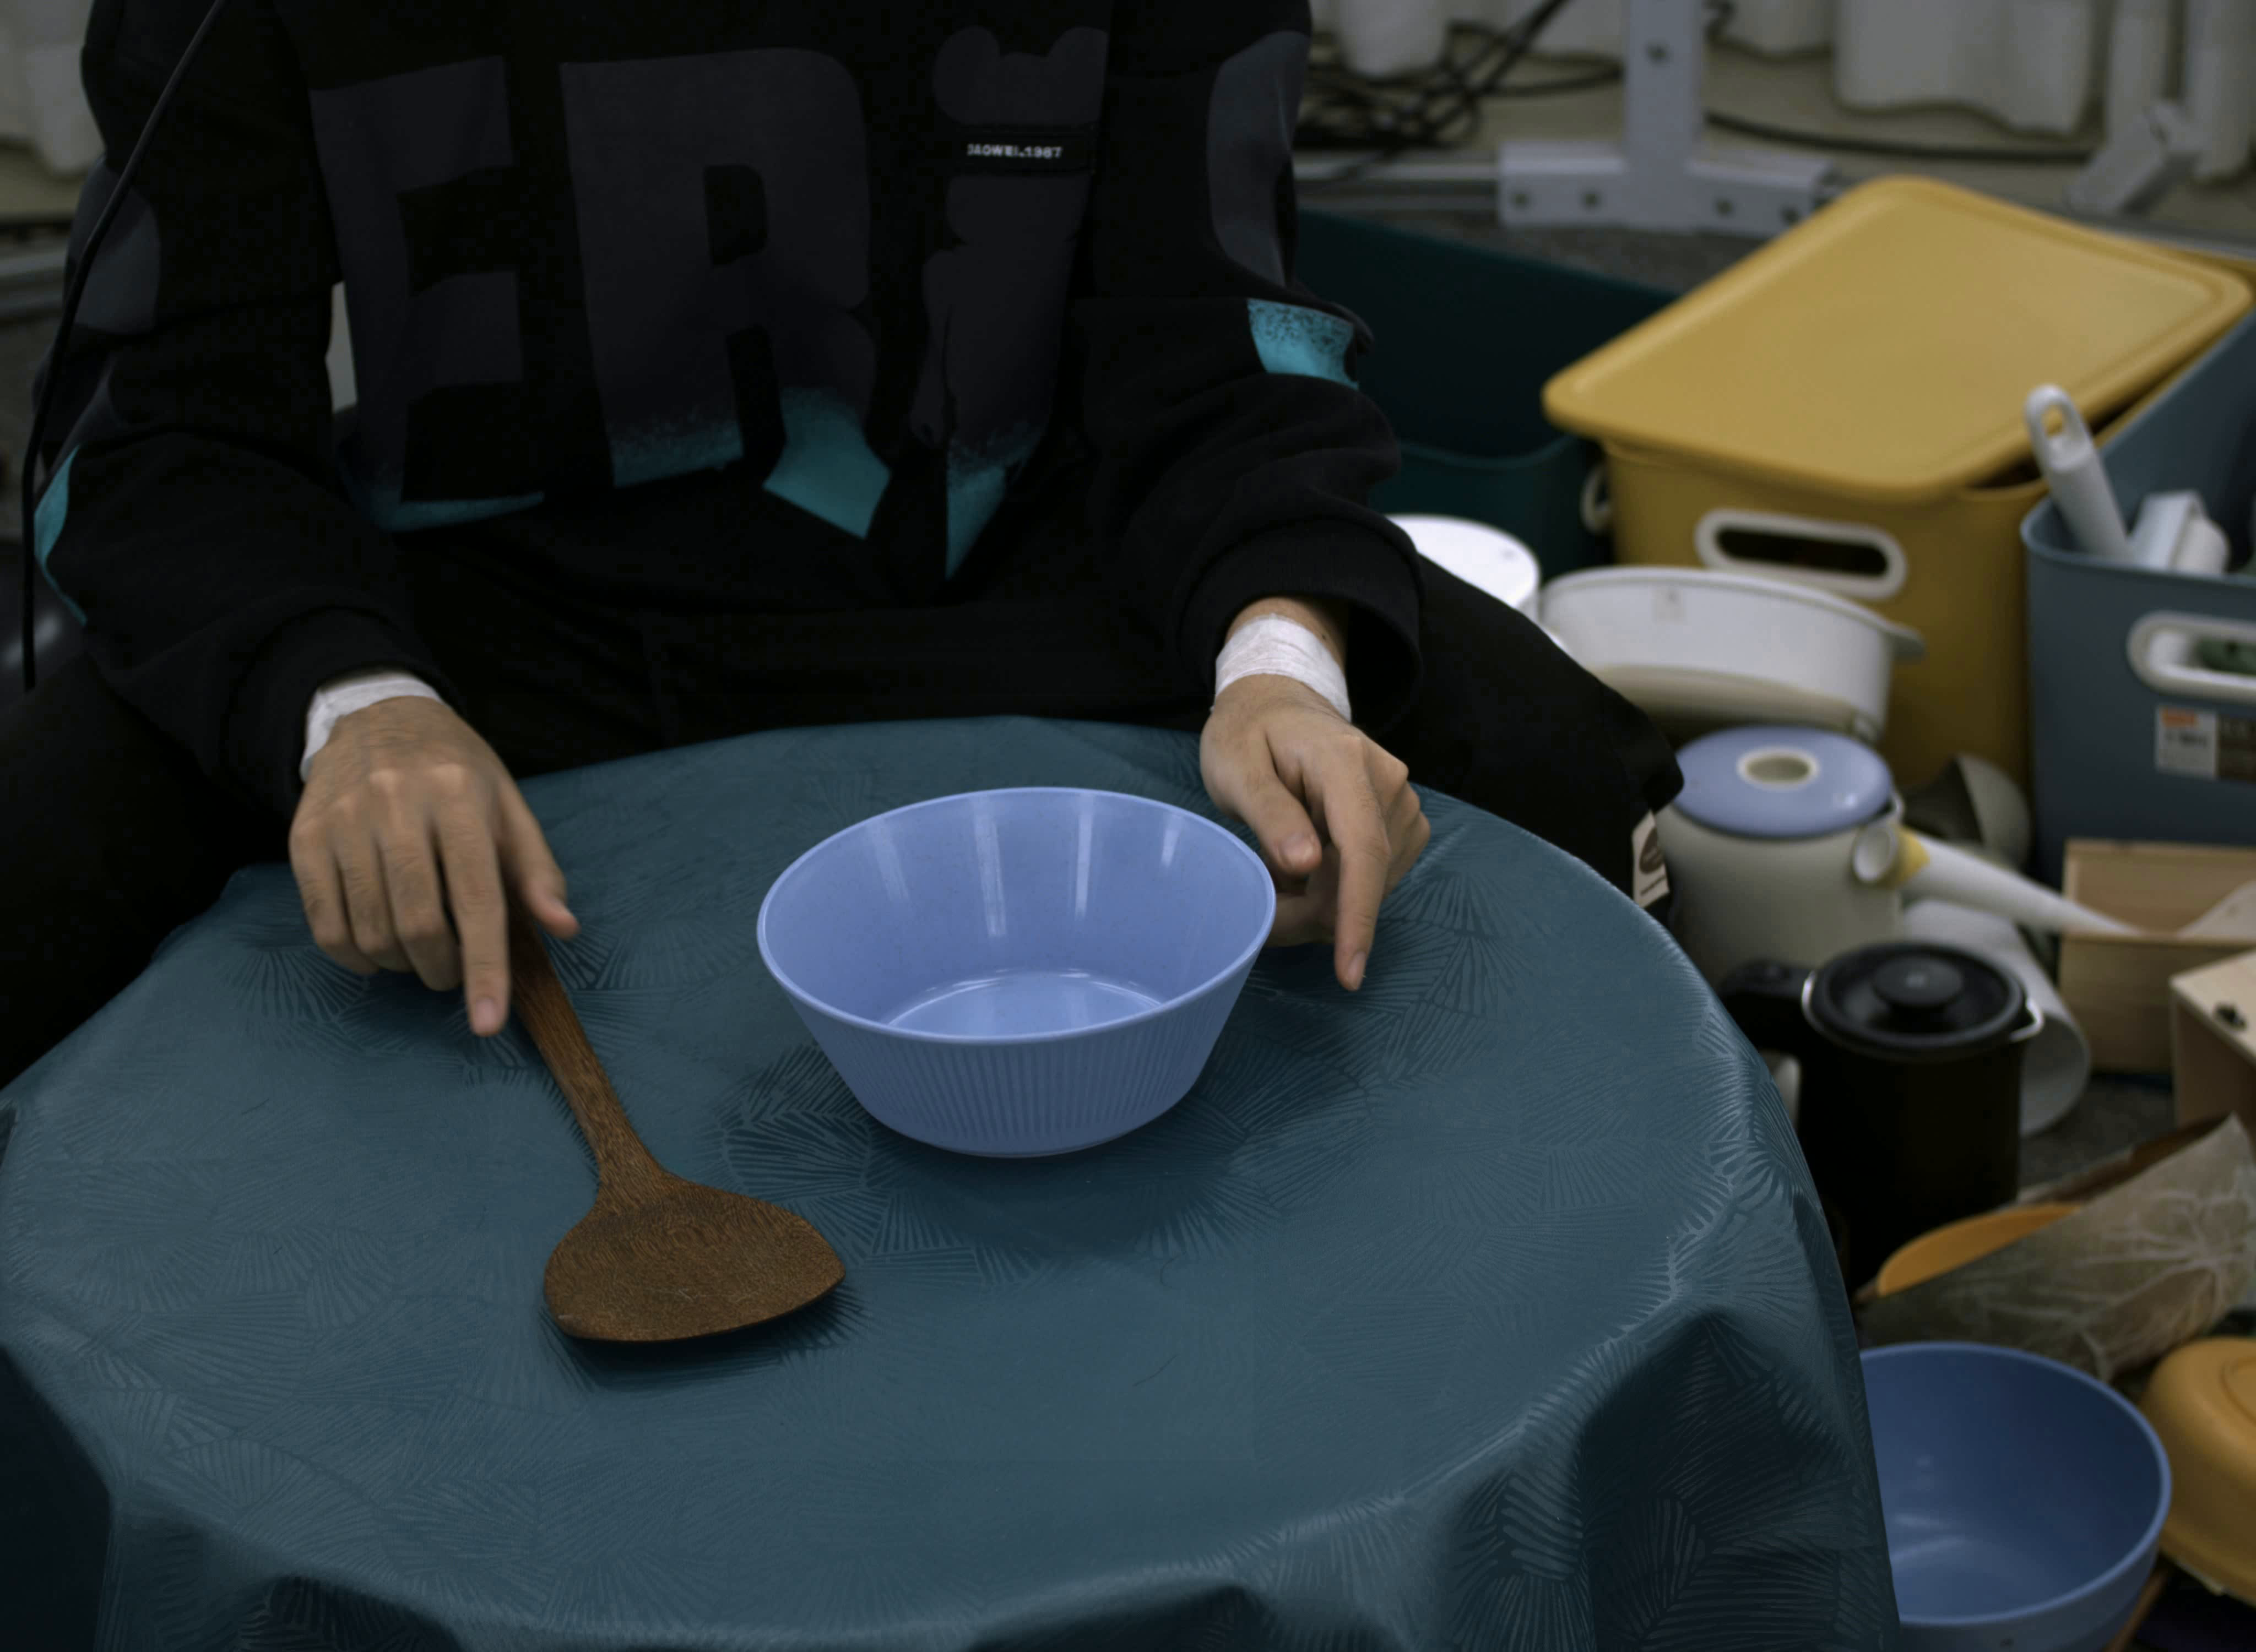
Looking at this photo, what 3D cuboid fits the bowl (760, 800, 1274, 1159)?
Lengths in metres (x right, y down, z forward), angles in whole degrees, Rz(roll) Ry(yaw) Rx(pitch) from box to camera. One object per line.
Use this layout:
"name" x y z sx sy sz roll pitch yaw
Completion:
"bowl" -0.036 0.058 1.914 0.175 0.069 0.178 -2 26 1

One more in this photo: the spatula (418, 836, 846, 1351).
"spatula" -0.191 0.084 1.939 0.096 0.015 0.389 -11 28 -16
